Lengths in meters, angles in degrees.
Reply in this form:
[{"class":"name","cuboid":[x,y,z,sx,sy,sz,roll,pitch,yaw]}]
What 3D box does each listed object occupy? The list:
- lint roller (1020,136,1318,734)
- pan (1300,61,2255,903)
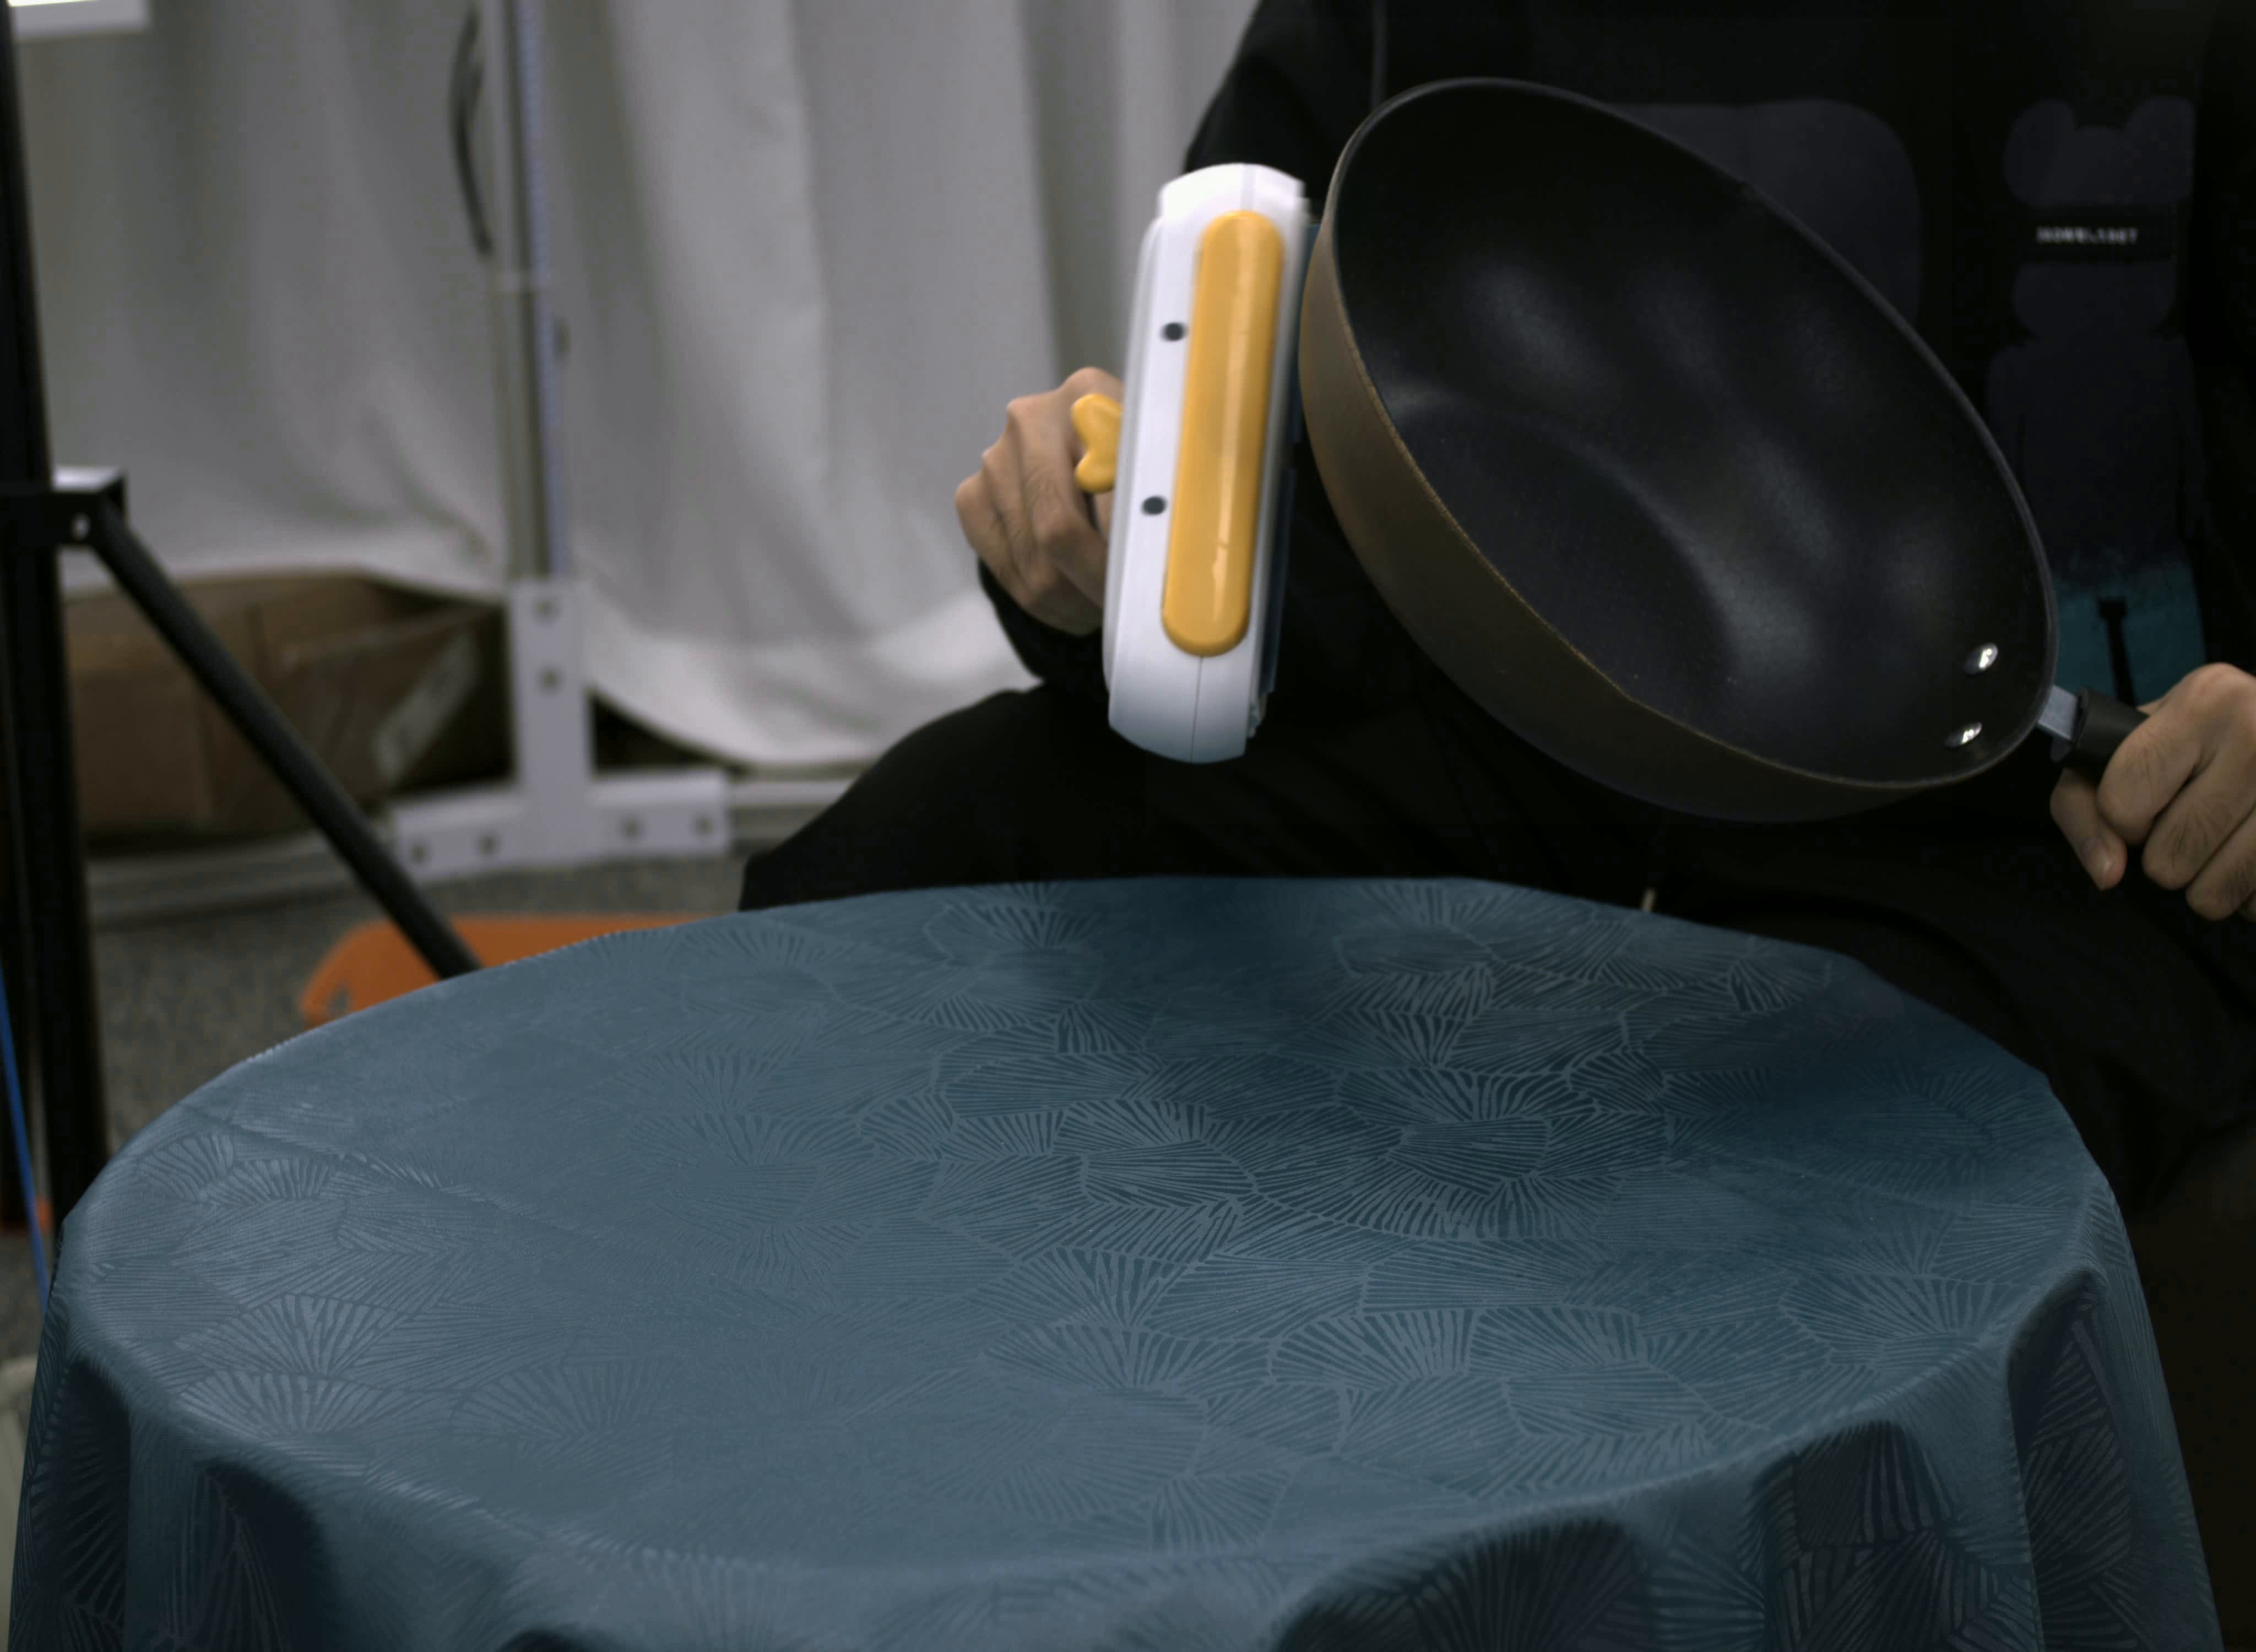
[{"class":"lint roller","cuboid":[0.009,-0.108,1.745,0.073,0.194,0.193,5,-17,-10]},{"class":"pan","cuboid":[0.229,-0.053,1.666,0.459,0.088,0.288,34,38,-9]}]
